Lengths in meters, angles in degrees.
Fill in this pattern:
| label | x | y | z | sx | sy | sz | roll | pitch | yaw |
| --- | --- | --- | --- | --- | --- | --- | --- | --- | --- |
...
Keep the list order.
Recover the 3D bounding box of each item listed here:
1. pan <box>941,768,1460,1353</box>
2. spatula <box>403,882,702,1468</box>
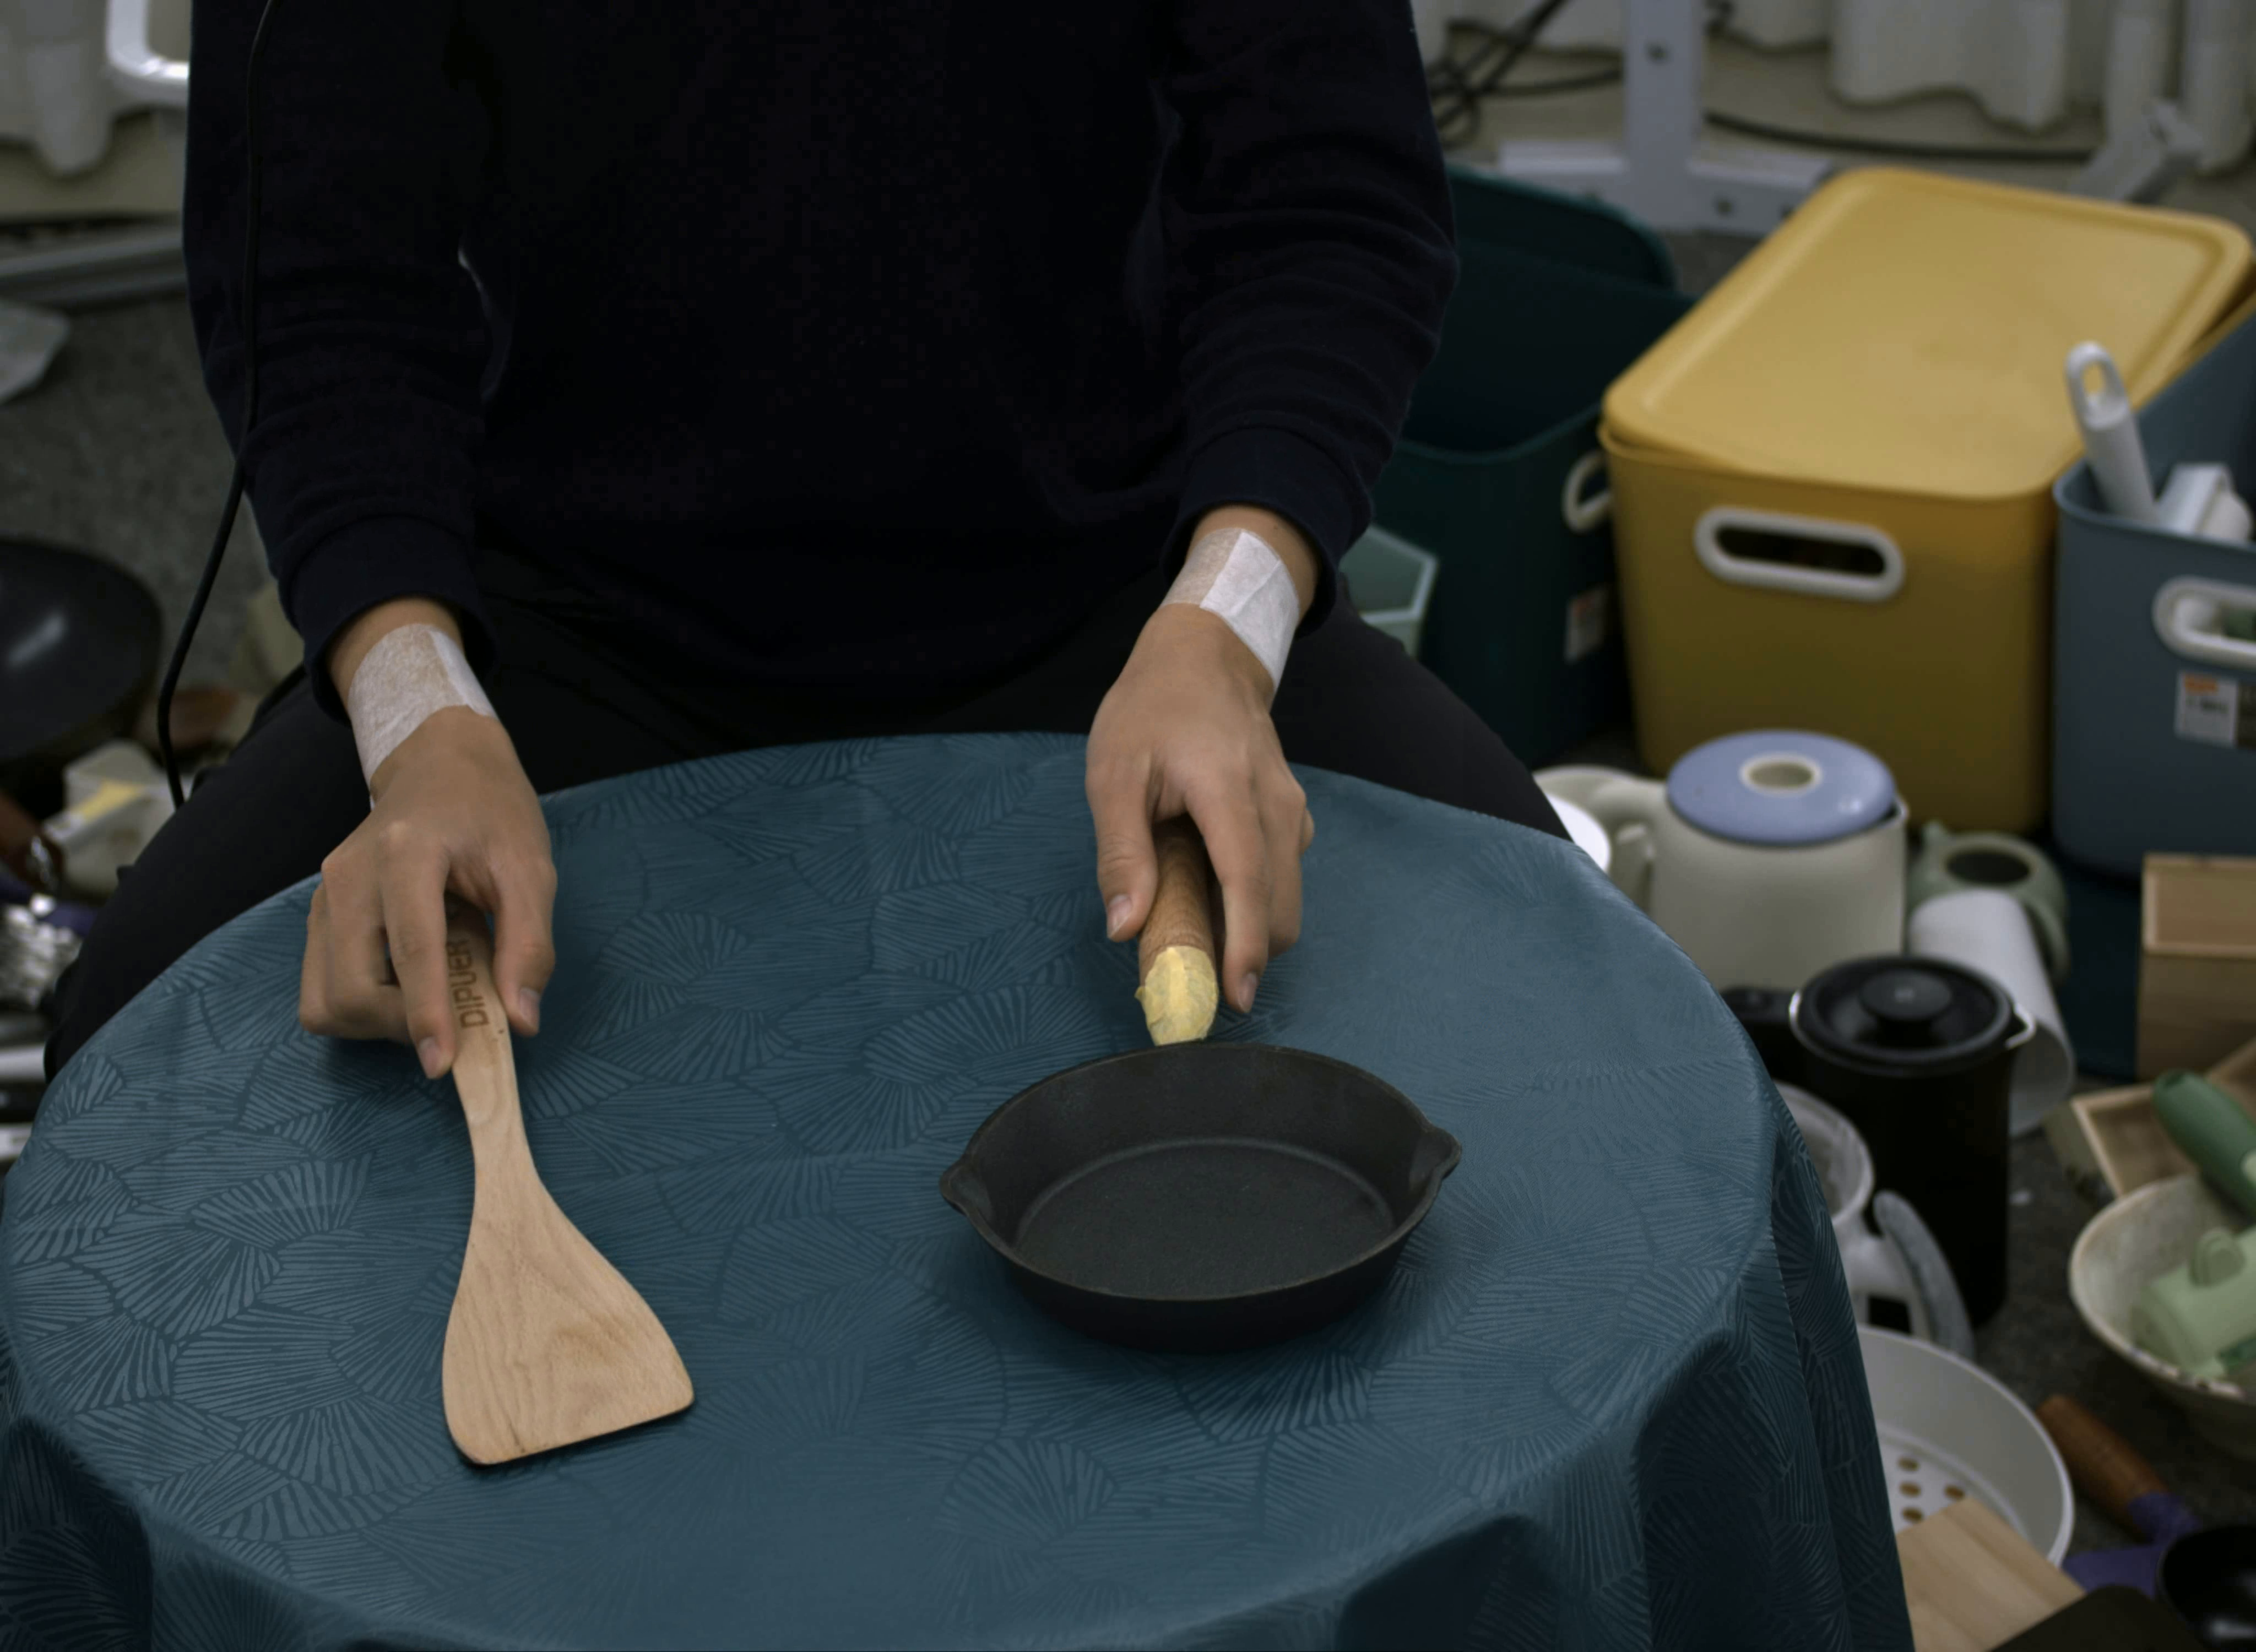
| label | x | y | z | sx | sy | sz | roll | pitch | yaw |
| --- | --- | --- | --- | --- | --- | --- | --- | --- | --- |
| pan | 0.022 | 0.076 | 1.893 | 0.168 | 0.049 | 0.329 | -3 | 29 | 0 |
| spatula | -0.206 | 0.109 | 1.869 | 0.080 | 0.016 | 0.332 | -8 | 35 | -12 |
